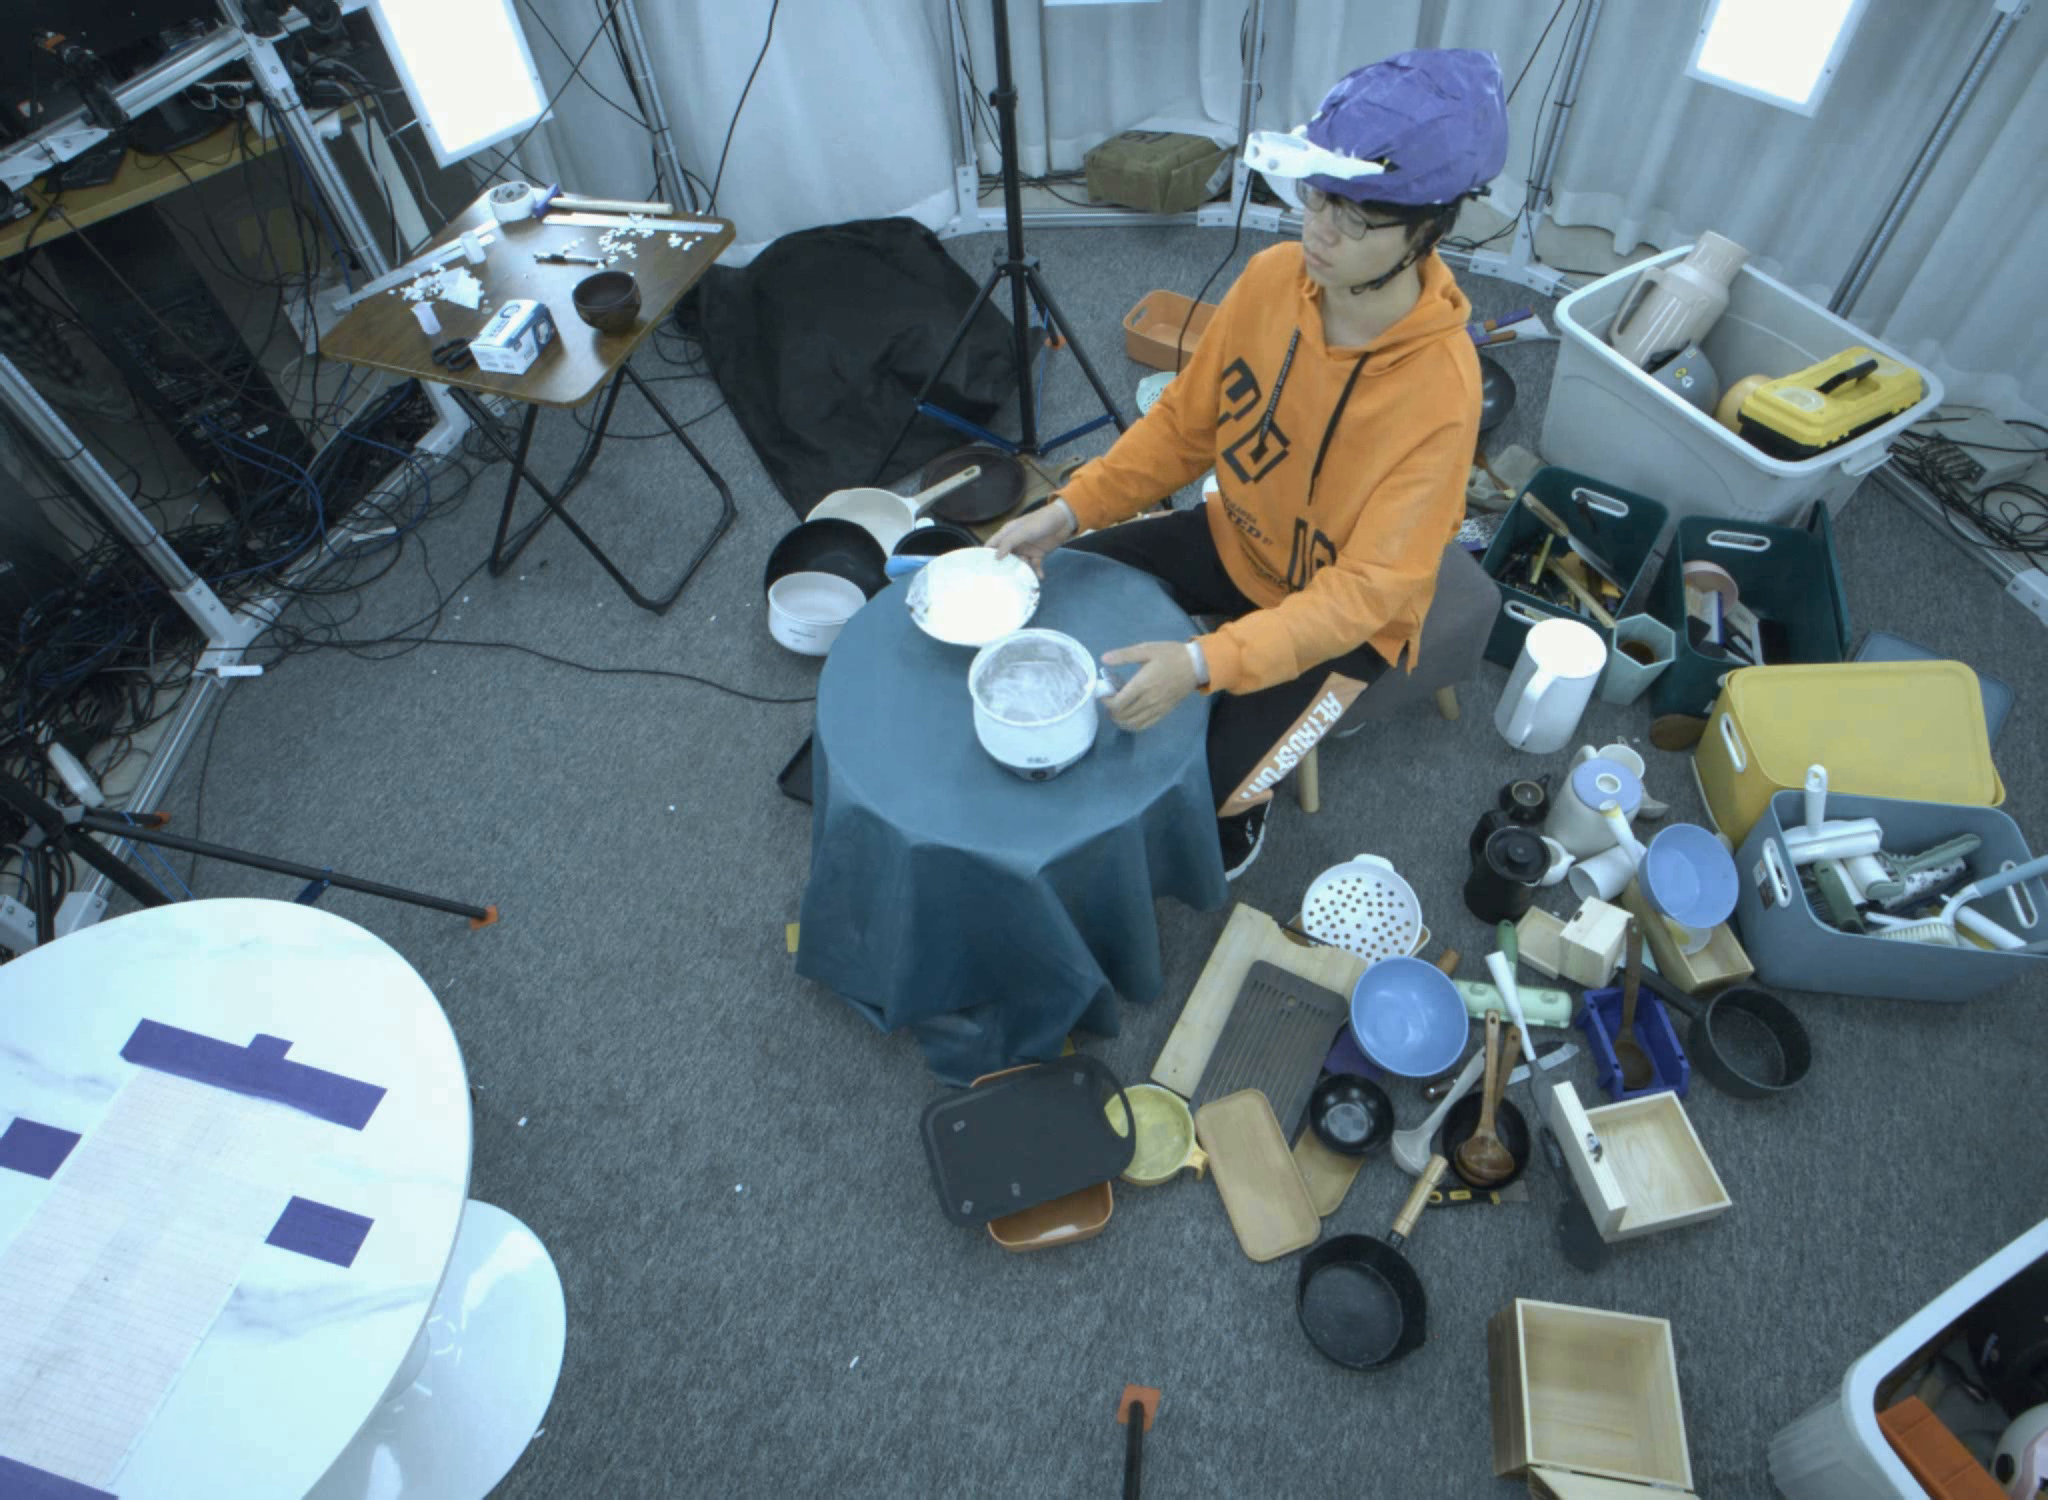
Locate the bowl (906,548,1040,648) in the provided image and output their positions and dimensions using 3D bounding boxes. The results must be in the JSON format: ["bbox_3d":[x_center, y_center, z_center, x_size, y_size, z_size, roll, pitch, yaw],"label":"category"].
[{"bbox_3d":[-0.077,-0.215,1.896,0.204,0.079,0.202,0,53,1],"label":"bowl"}]

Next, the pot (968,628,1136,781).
[{"bbox_3d":[0.043,-0.066,1.748,0.234,0.138,0.176,-5,55,0],"label":"pot"}]
